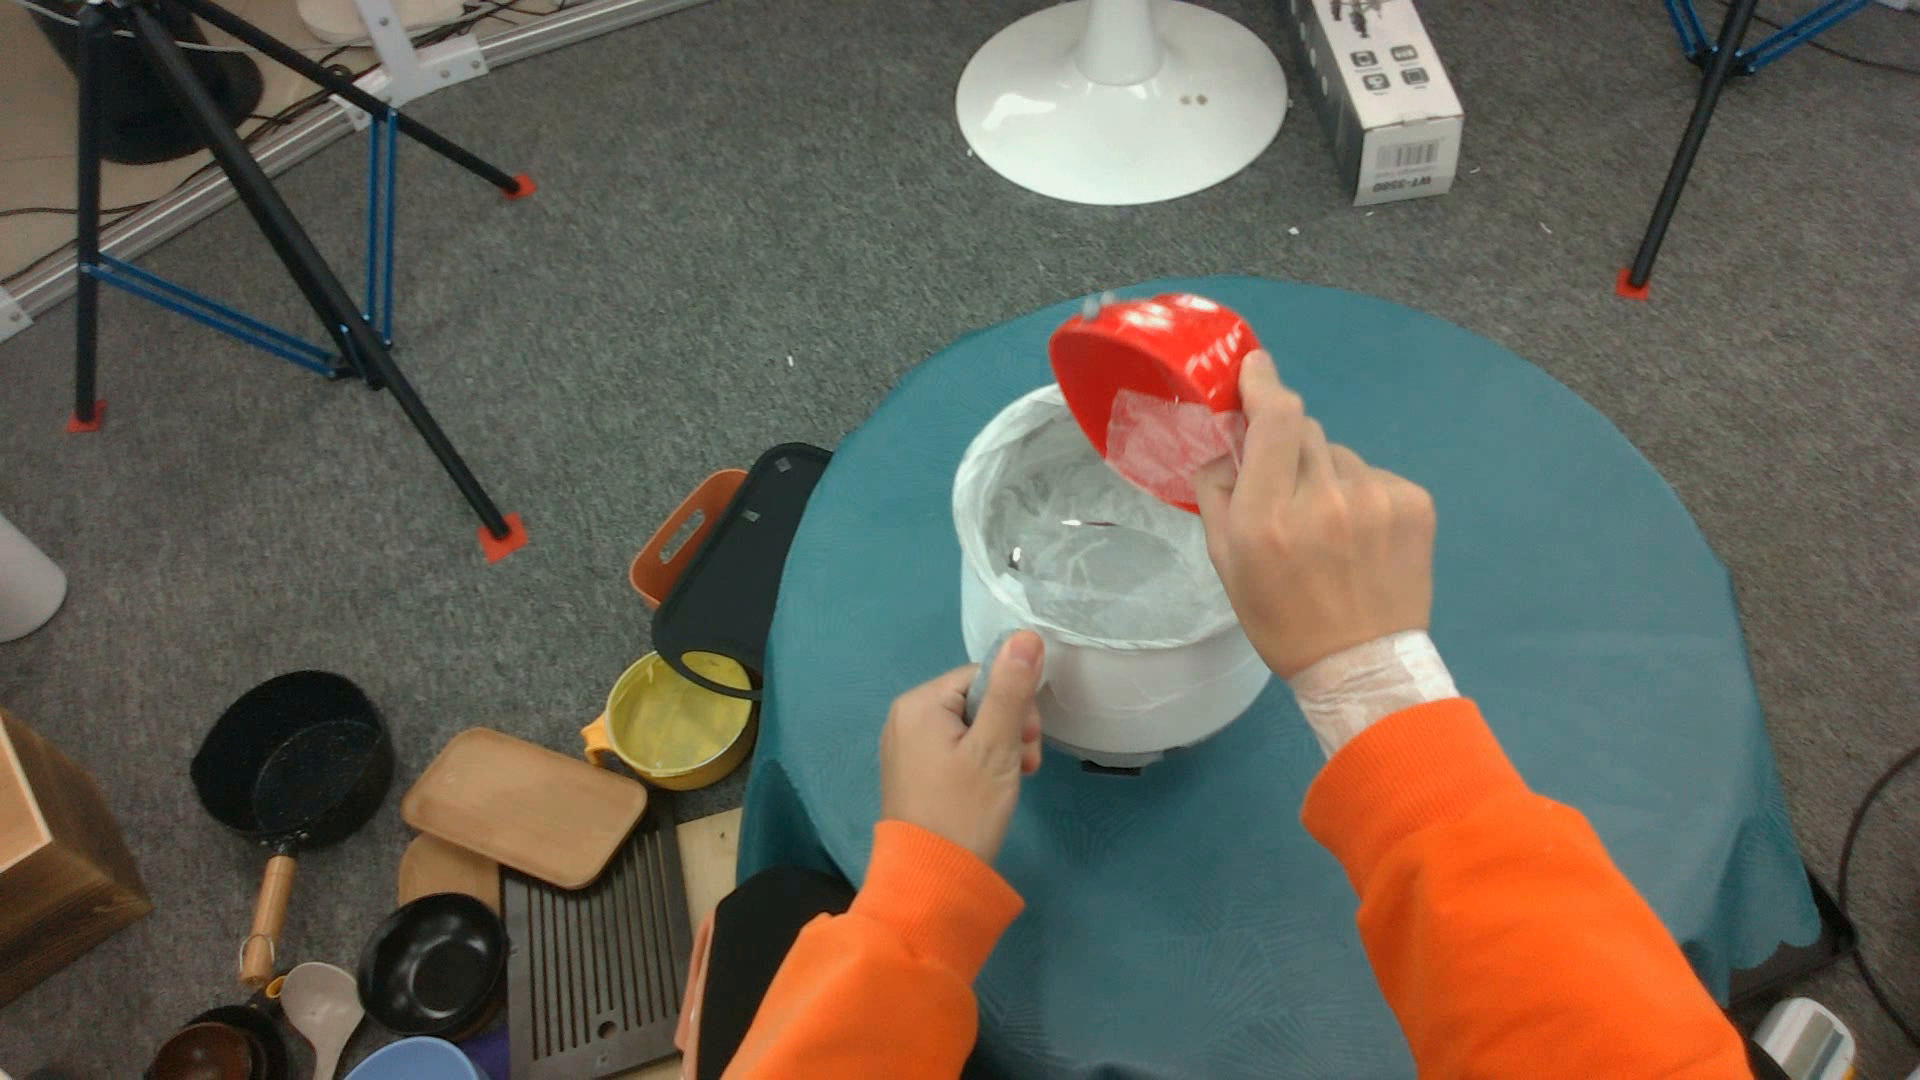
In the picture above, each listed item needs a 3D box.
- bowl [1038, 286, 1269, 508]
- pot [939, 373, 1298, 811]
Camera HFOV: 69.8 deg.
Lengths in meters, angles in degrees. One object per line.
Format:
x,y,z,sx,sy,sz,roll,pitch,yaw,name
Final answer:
0.096,-0.072,0.625,0.119,0.118,0.051,35,71,26,bowl
0.067,0.031,0.725,0.178,0.136,0.235,26,58,22,pot
